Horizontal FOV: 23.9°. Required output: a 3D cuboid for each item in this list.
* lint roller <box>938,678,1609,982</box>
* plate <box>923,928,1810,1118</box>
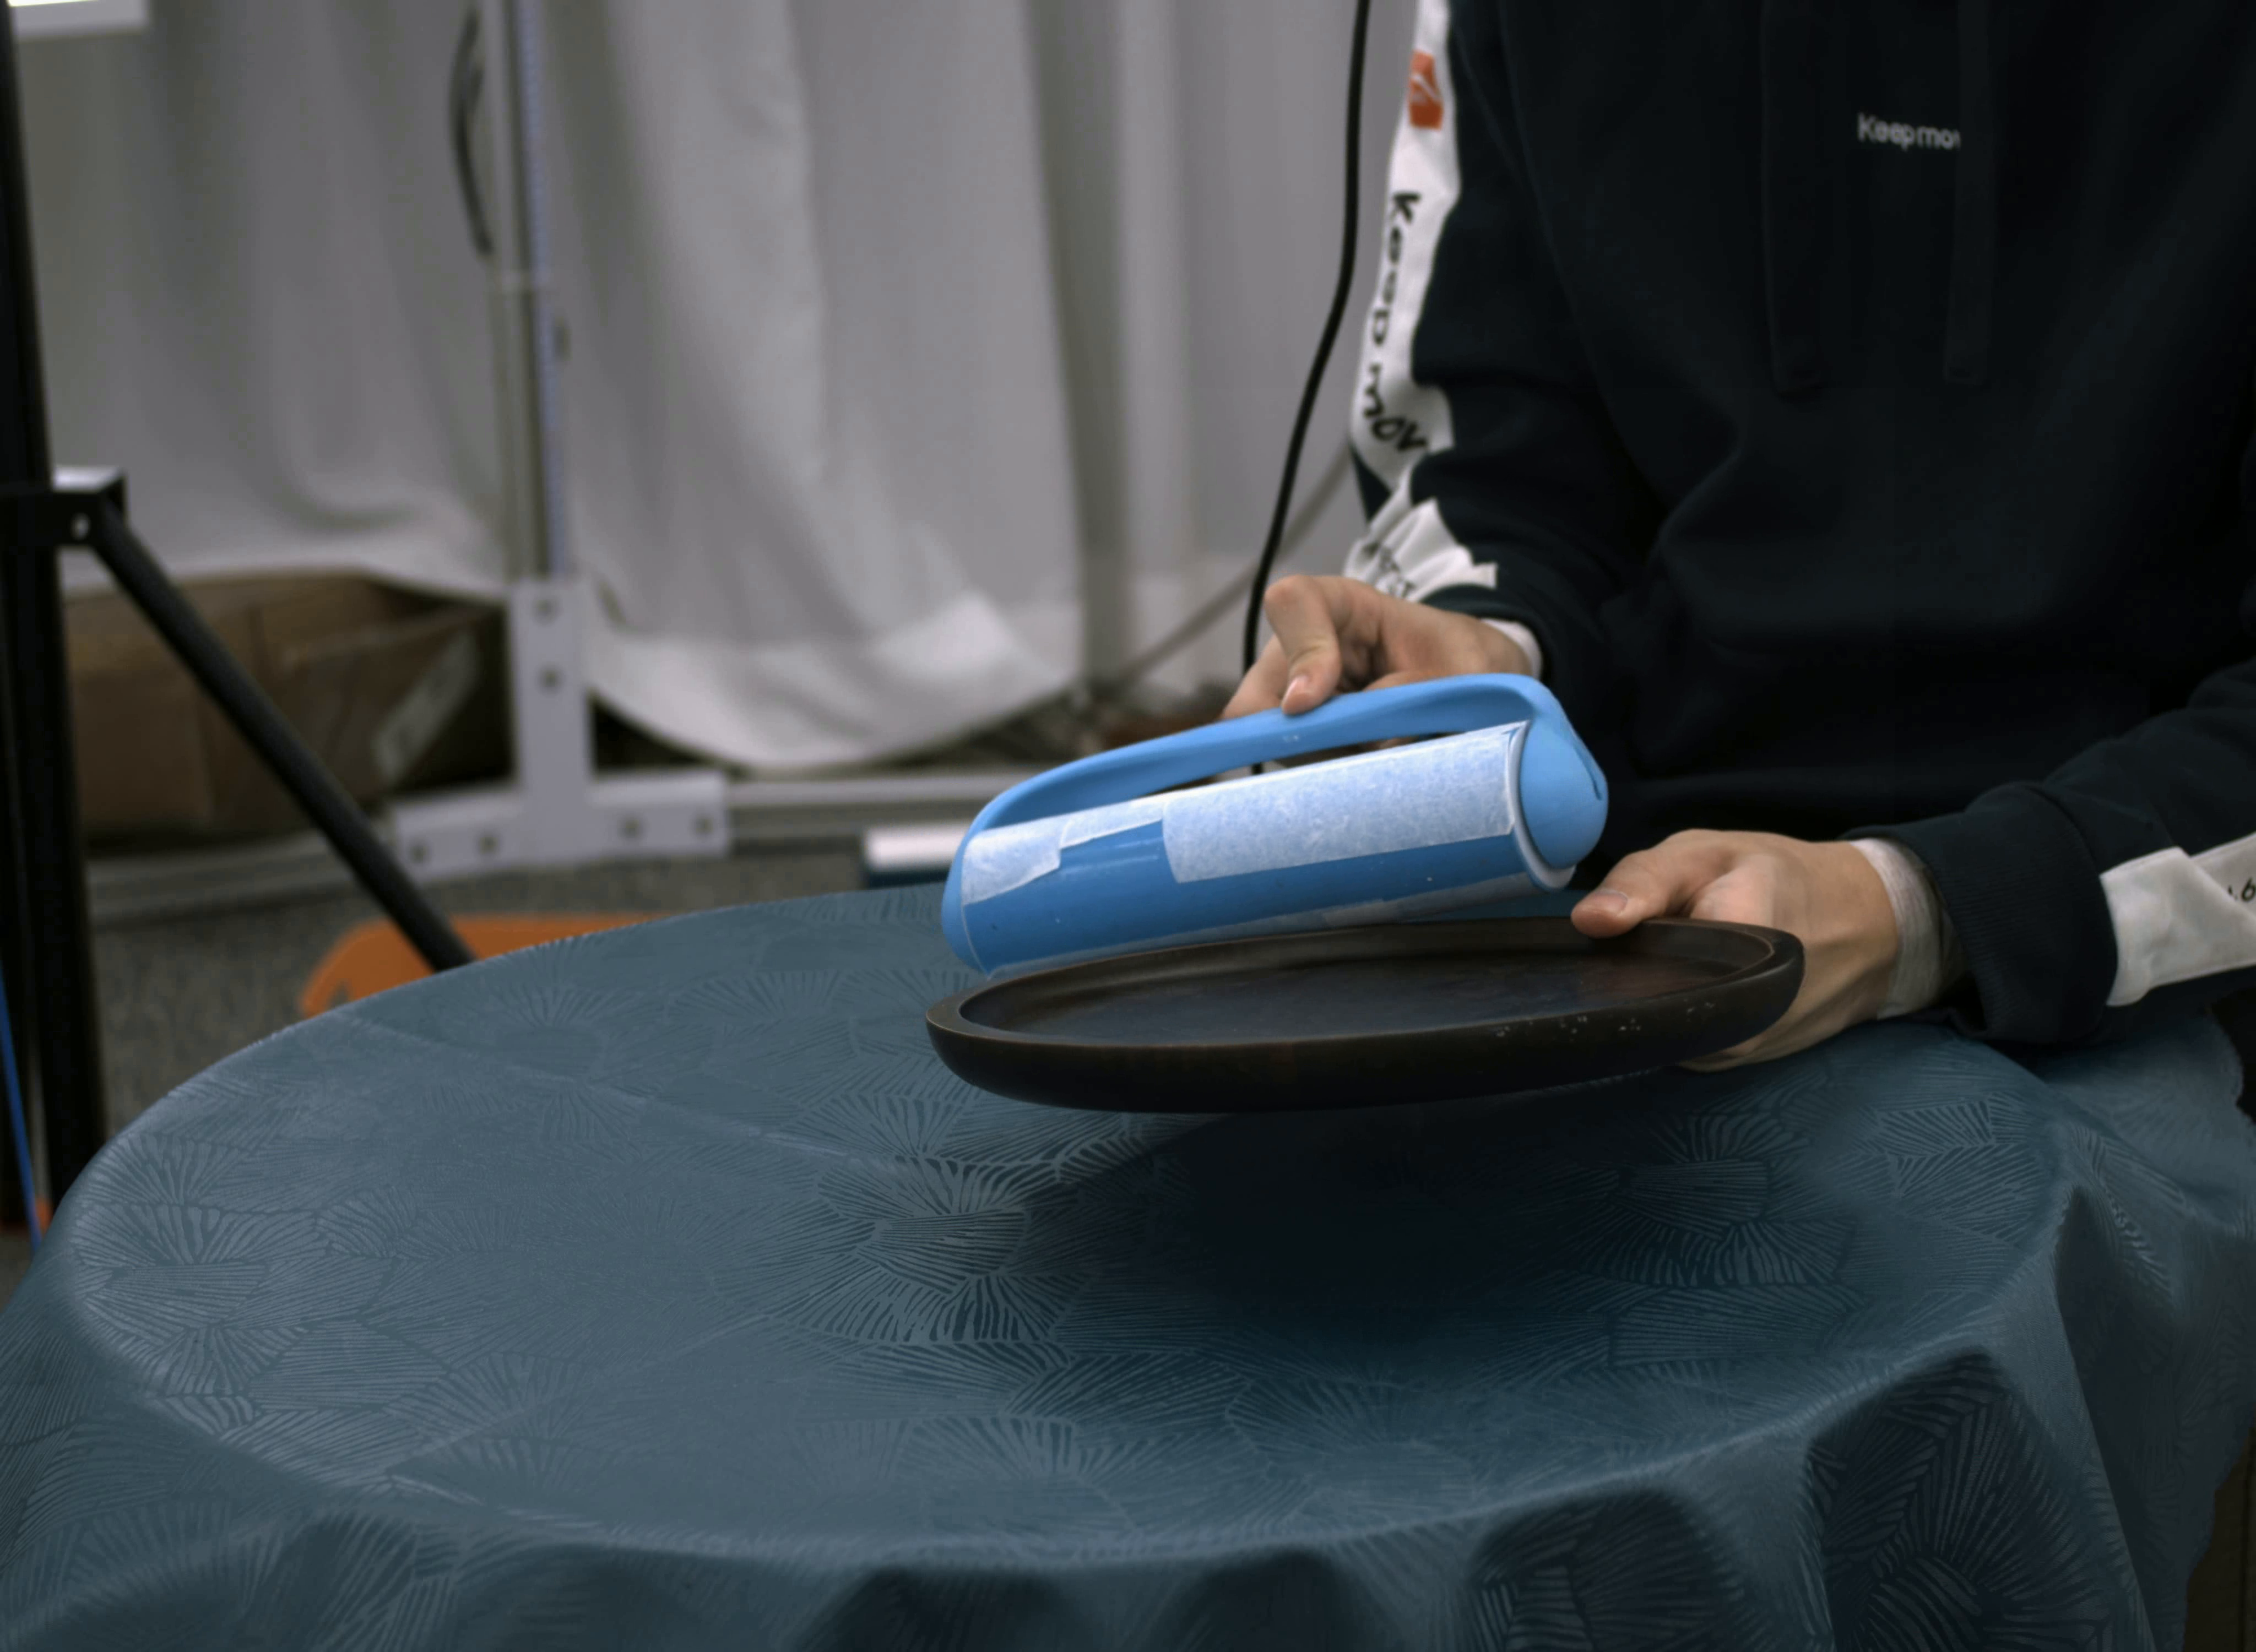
[{"bbox_3d":[0.062,-0.008,1.709,0.232,0.068,0.178,-13,13,25],"label":"lint roller"},{"bbox_3d":[0.068,0.053,1.512,0.253,0.029,0.255,-4,6,-1],"label":"plate"}]
